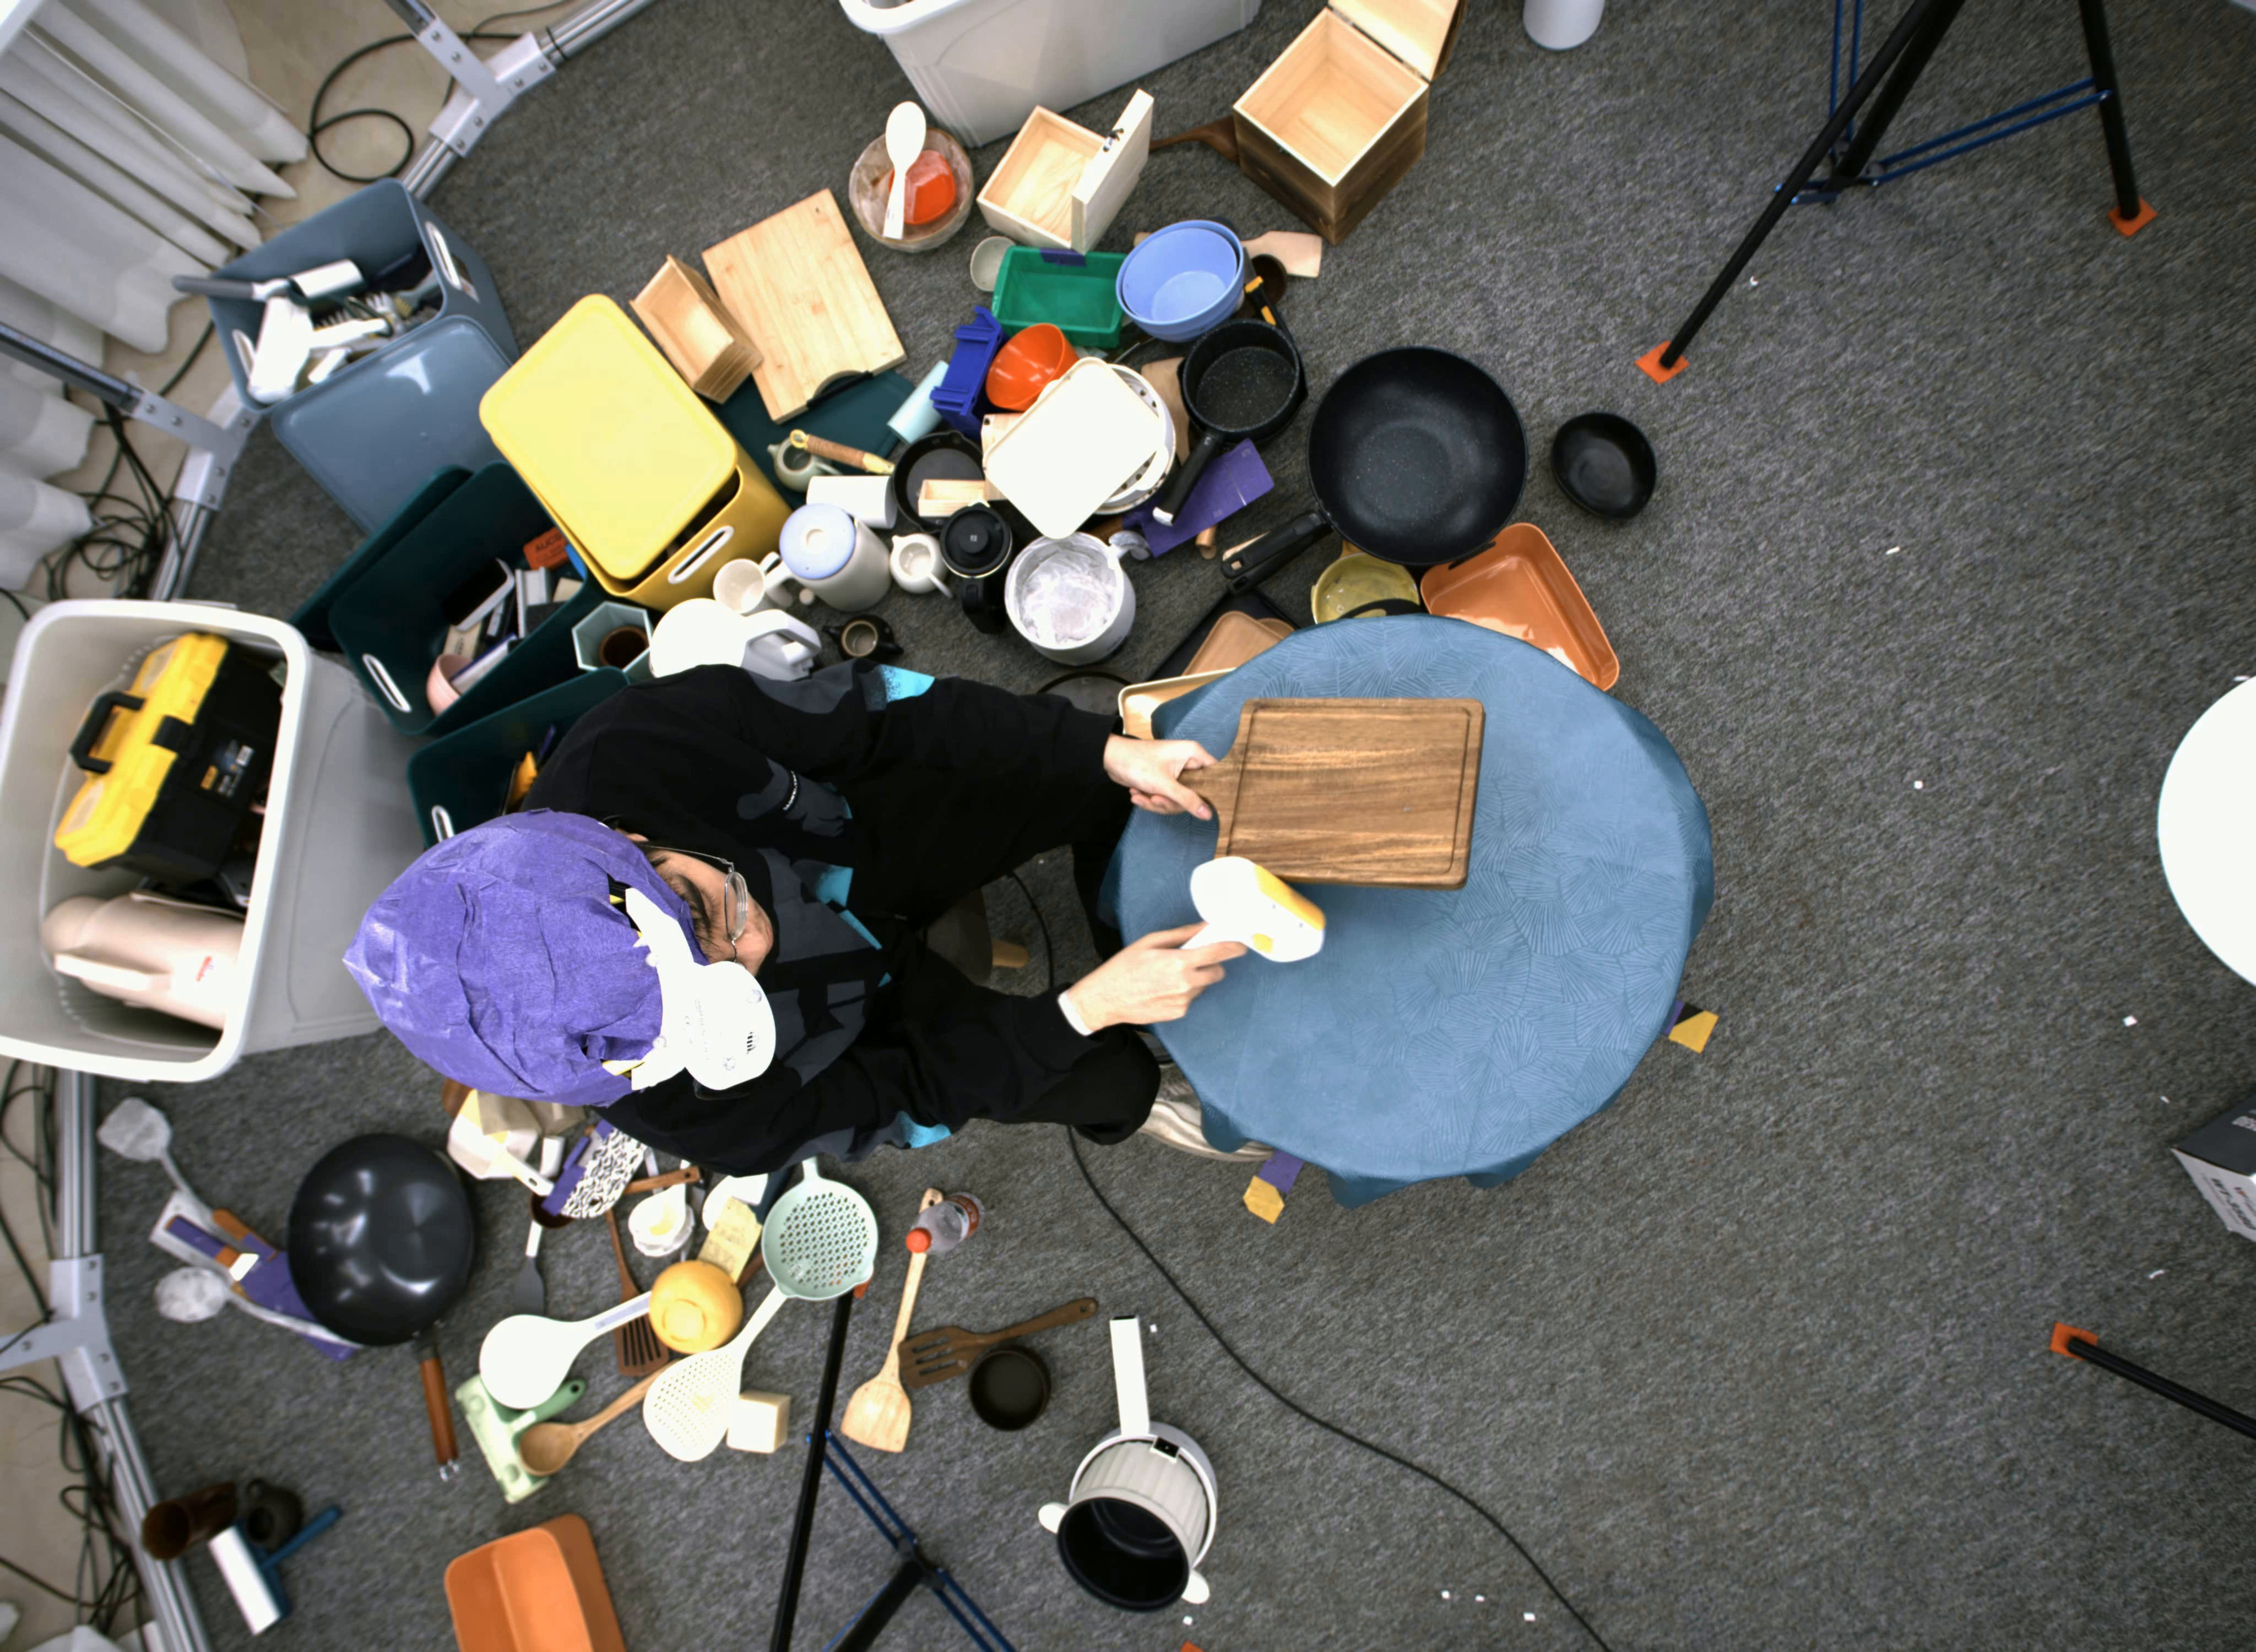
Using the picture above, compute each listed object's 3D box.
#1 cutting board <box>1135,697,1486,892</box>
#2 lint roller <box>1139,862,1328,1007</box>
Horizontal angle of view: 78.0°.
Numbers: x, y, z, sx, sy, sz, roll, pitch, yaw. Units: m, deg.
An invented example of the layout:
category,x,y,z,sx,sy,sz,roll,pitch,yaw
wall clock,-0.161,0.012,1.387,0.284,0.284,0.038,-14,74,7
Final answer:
category,x,y,z,sx,sy,sz,roll,pitch,yaw
cutting board,0.172,-0.037,1.376,0.354,0.023,0.198,2,71,25
lint roller,0.087,0.116,1.382,0.195,0.193,0.073,-30,60,27
